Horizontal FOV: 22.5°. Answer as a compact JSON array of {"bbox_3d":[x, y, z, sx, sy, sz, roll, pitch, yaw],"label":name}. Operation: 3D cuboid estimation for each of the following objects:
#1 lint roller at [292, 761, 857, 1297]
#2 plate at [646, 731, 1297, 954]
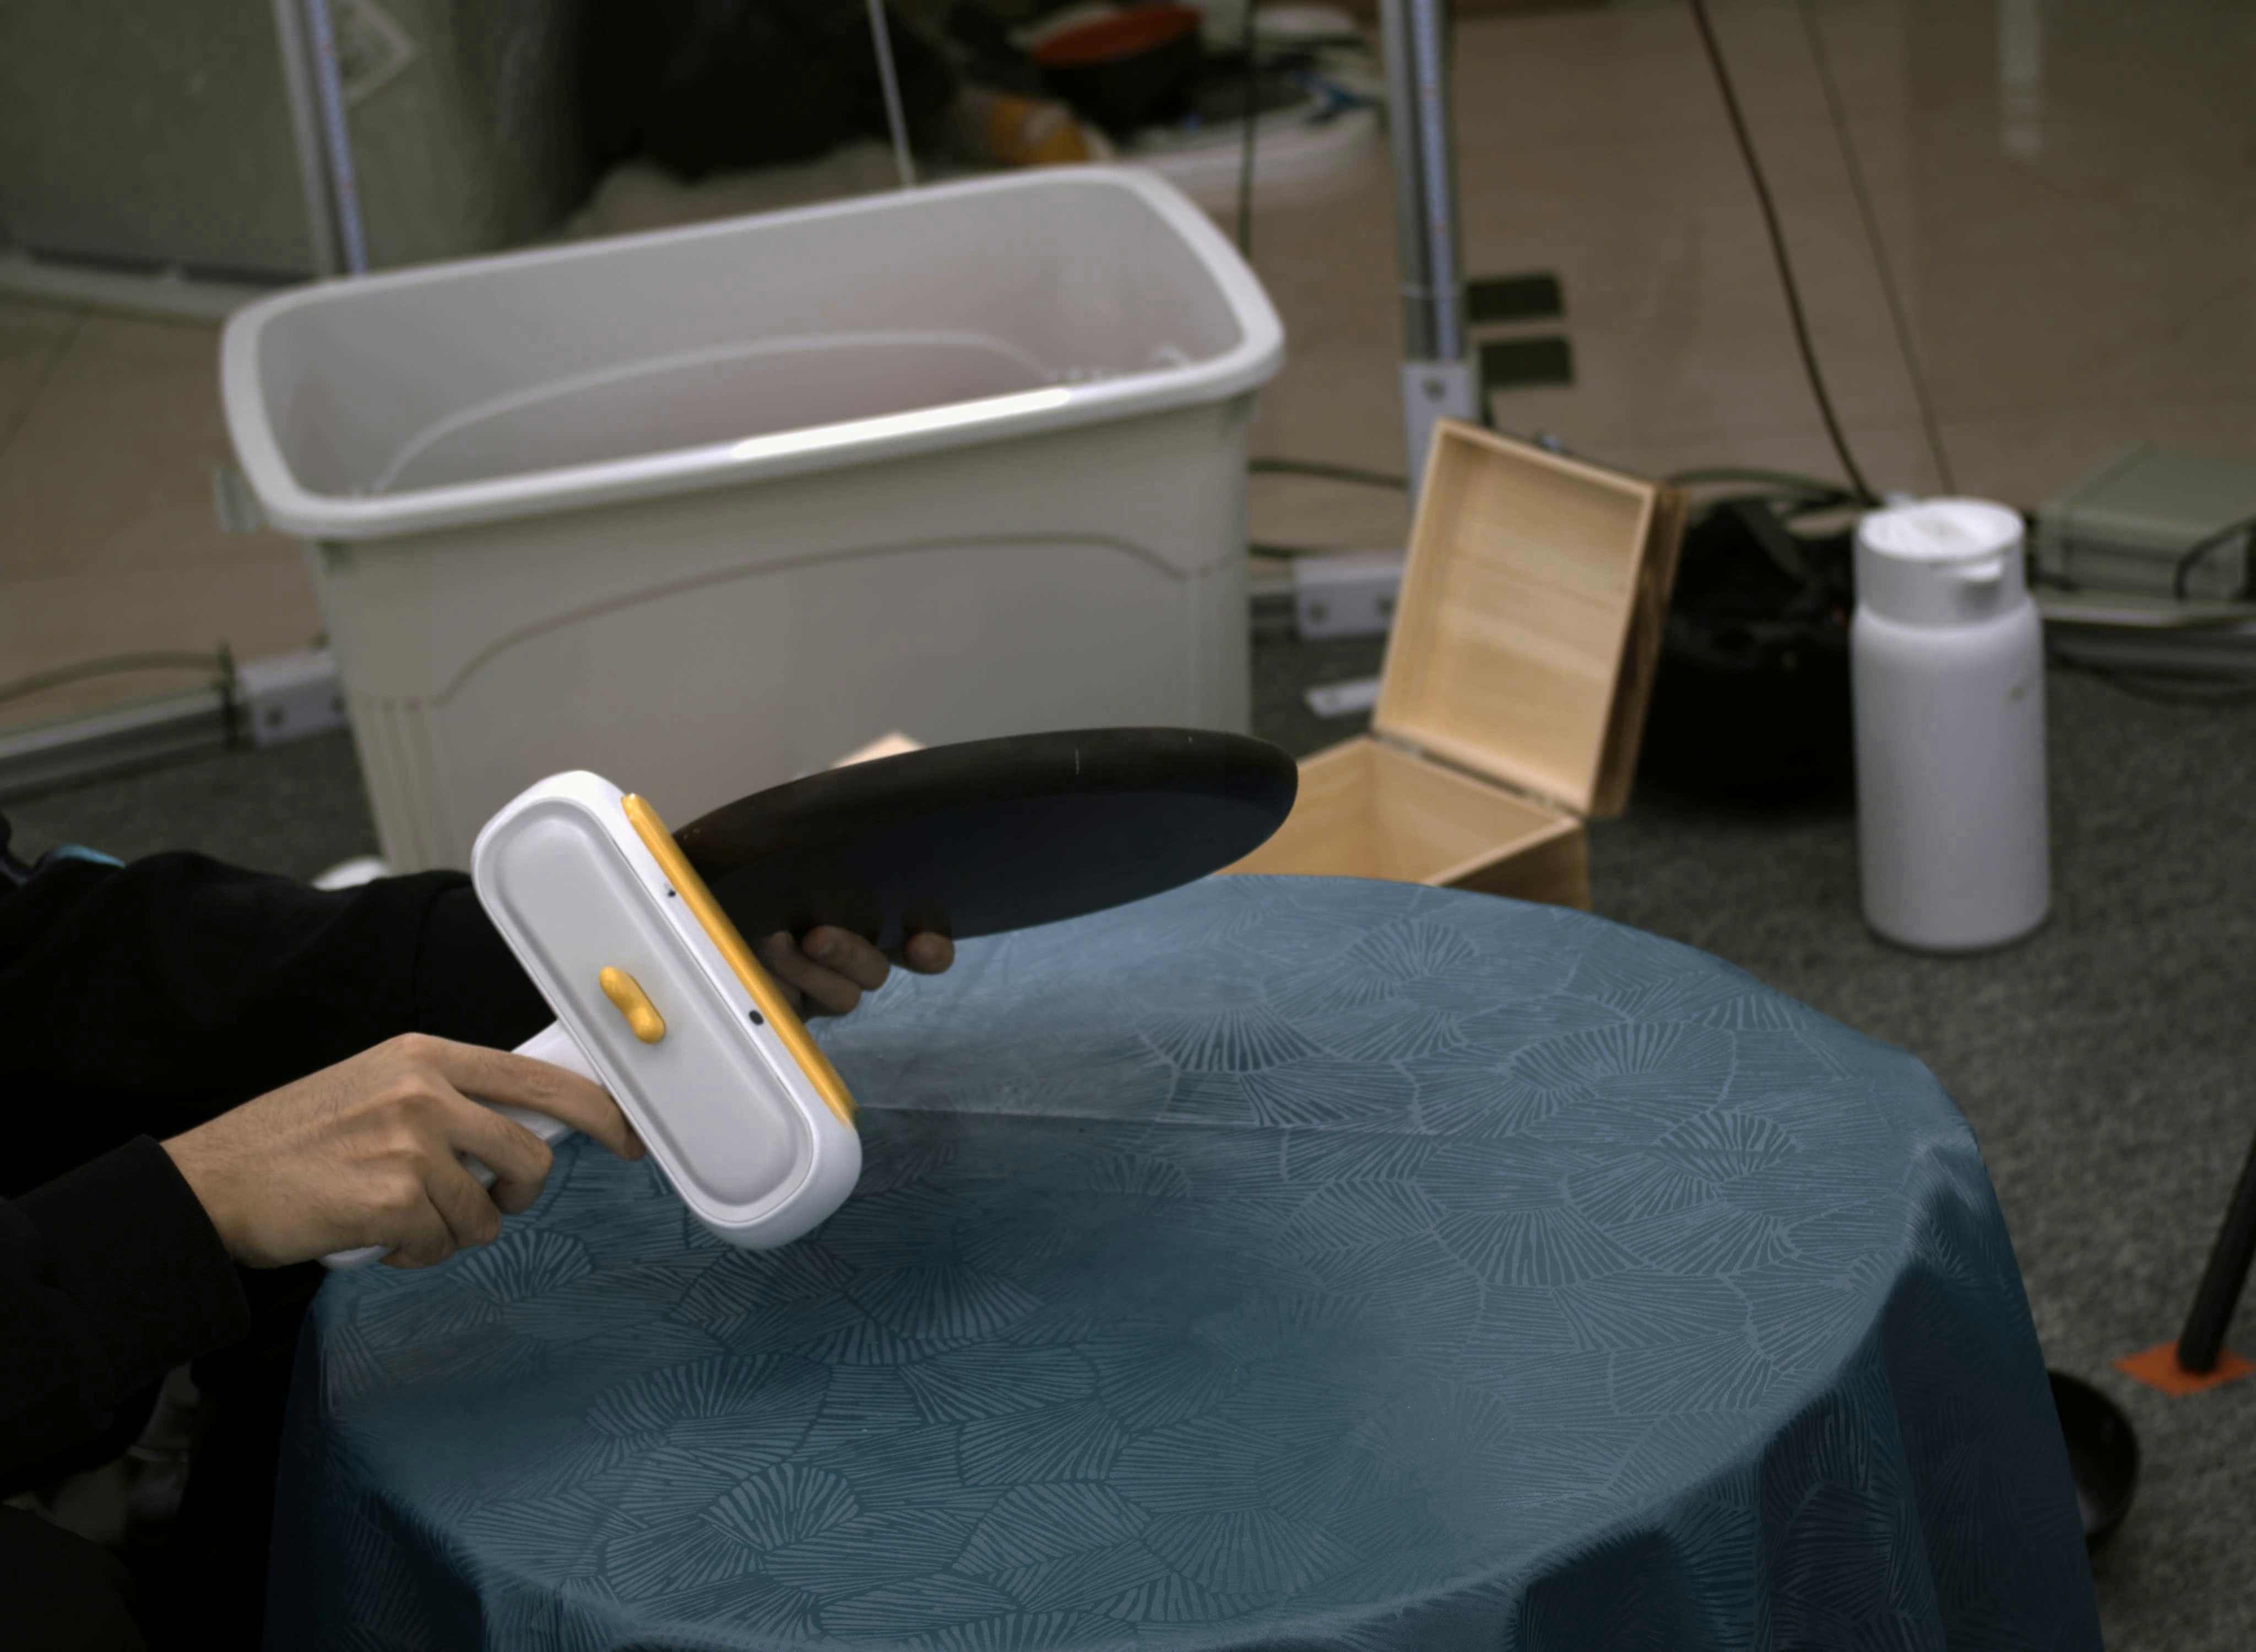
[{"bbox_3d":[-0.219,0.099,2.056,0.192,0.192,0.074,-39,-4,0],"label":"lint roller"},{"bbox_3d":[-0.059,0.008,2.142,0.254,0.029,0.256,-11,-12,-2],"label":"plate"}]
